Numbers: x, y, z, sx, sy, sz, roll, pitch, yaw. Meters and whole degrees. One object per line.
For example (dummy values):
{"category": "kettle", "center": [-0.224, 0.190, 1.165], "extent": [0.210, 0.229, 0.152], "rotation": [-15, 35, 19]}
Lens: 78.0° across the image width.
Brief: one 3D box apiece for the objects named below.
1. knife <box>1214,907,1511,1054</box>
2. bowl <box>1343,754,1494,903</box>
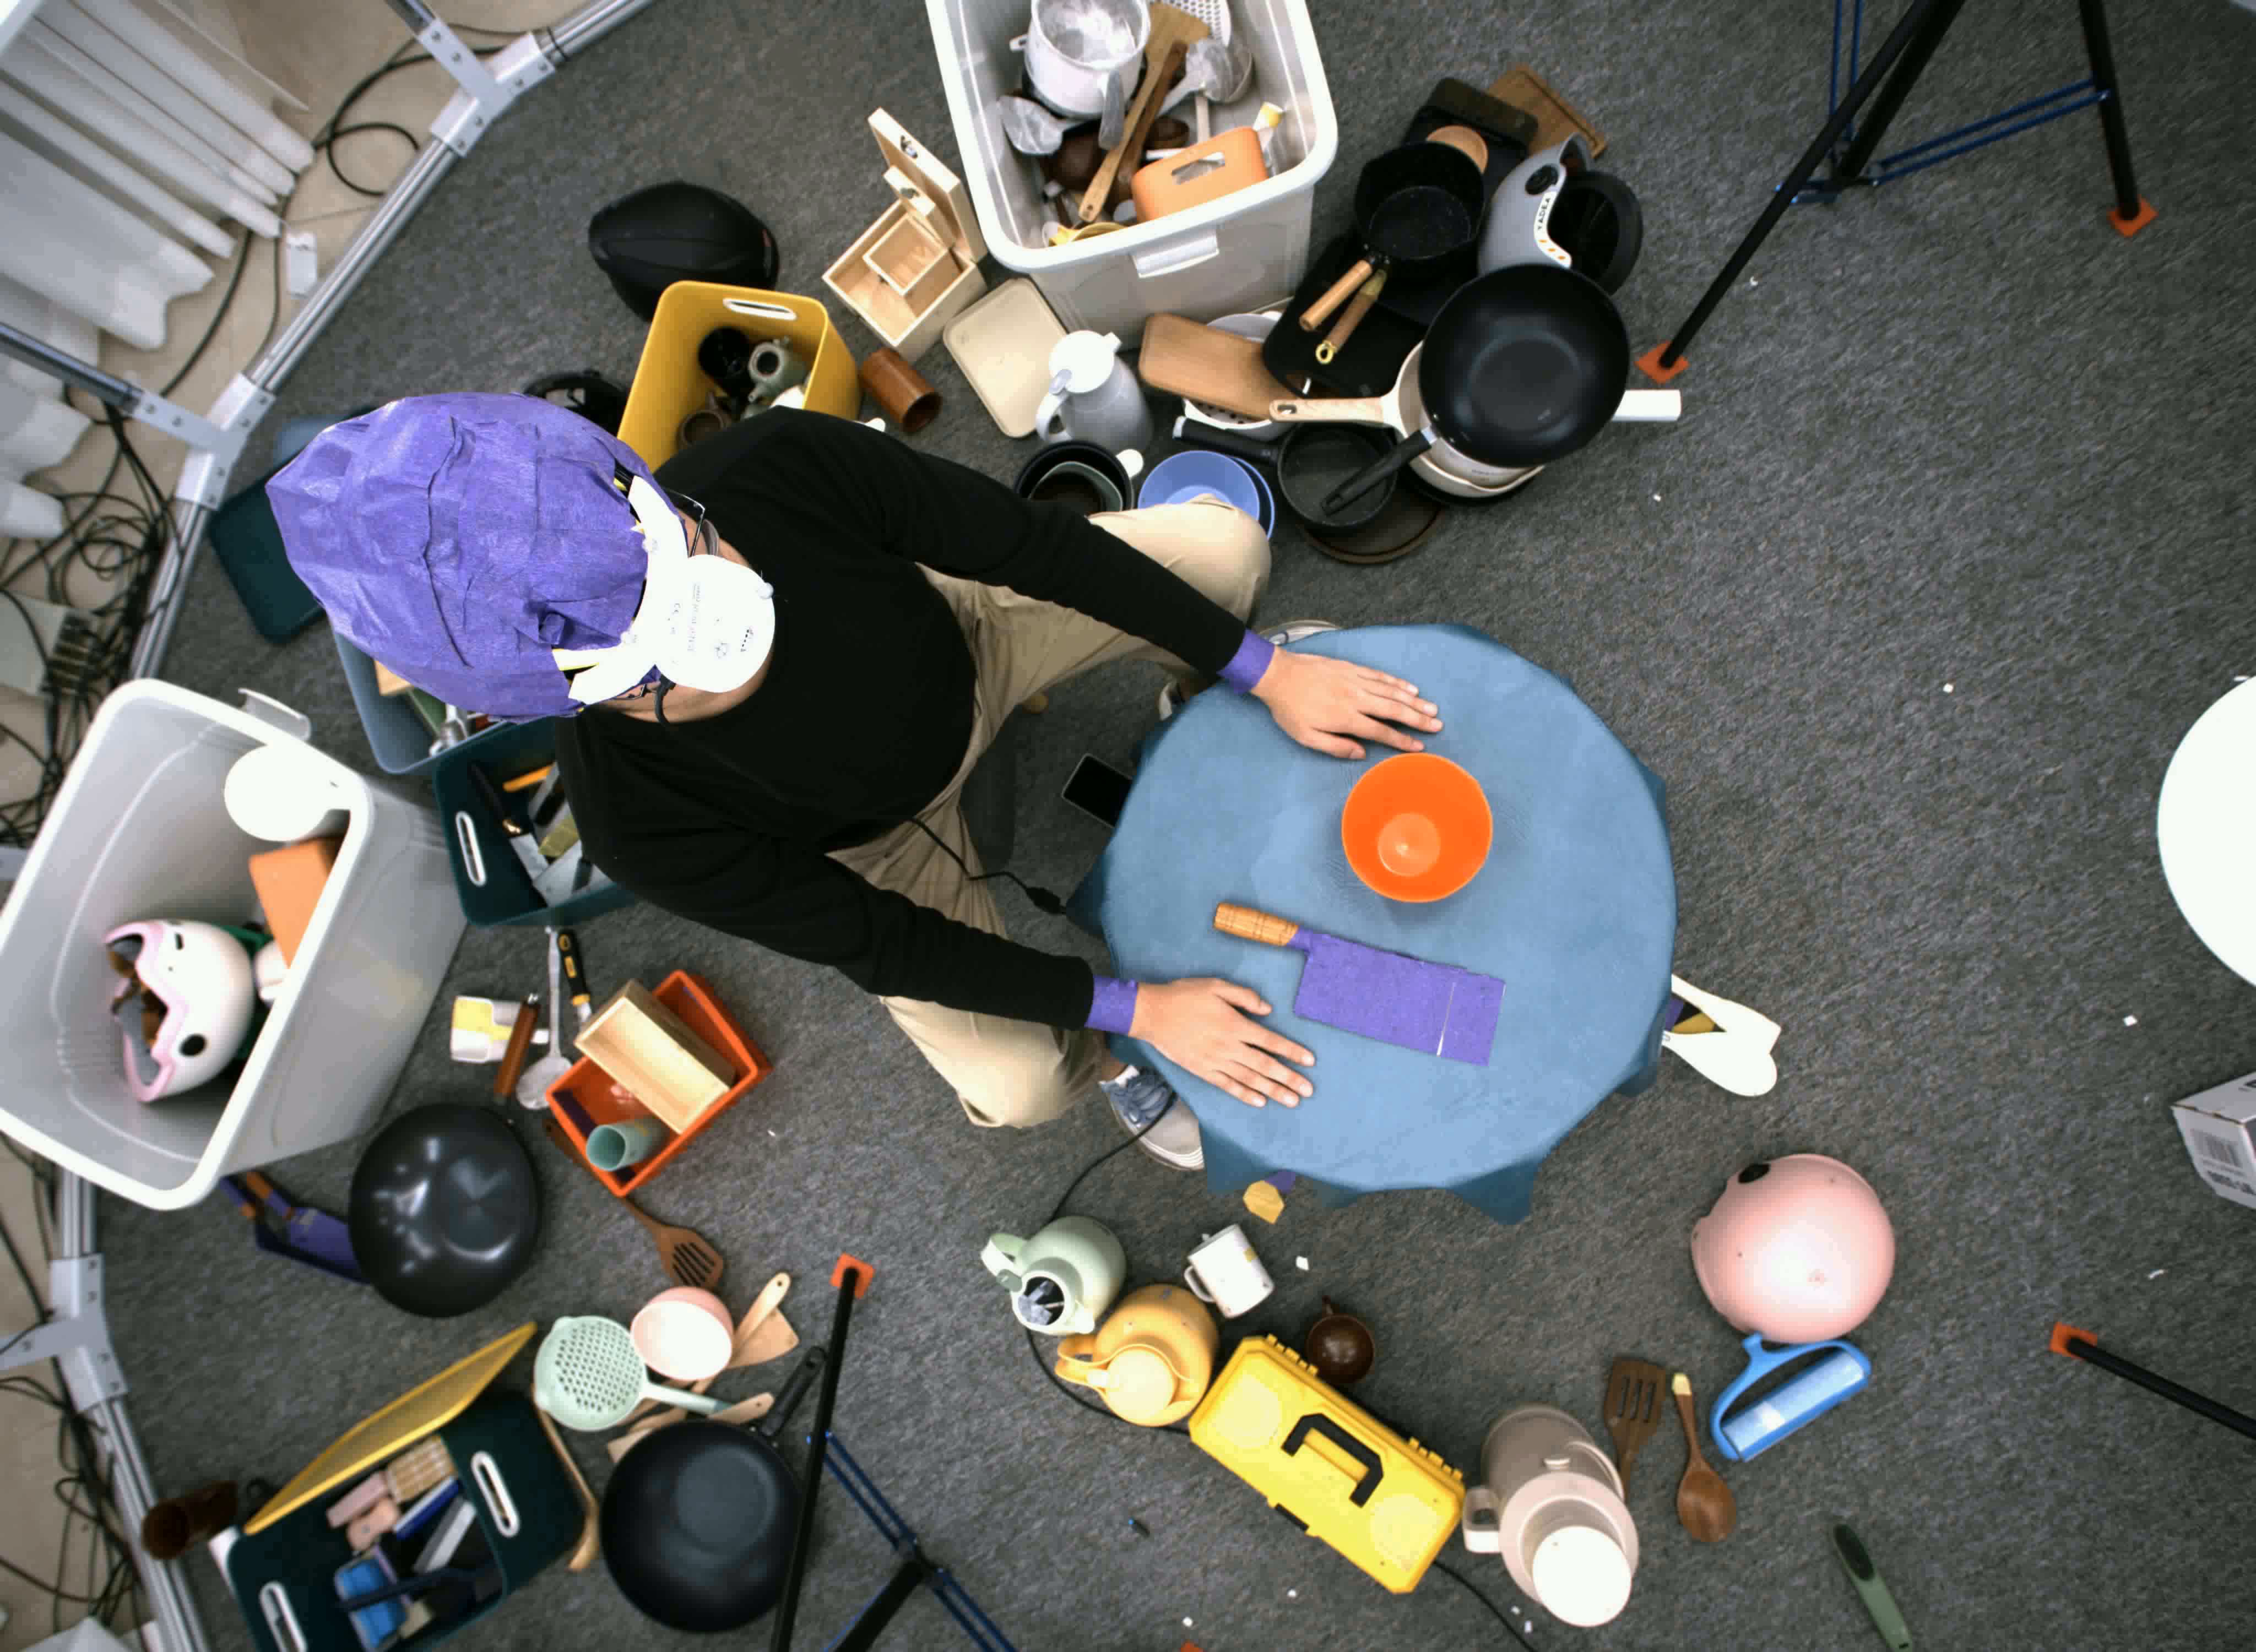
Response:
{"category": "knife", "center": [0.236, 0.163, 1.450], "extent": [0.316, 0.032, 0.103], "rotation": [14, 89, 11]}
{"category": "bowl", "center": [0.294, 0.005, 1.409], "extent": [0.148, 0.104, 0.147], "rotation": [-1, 87, 10]}
